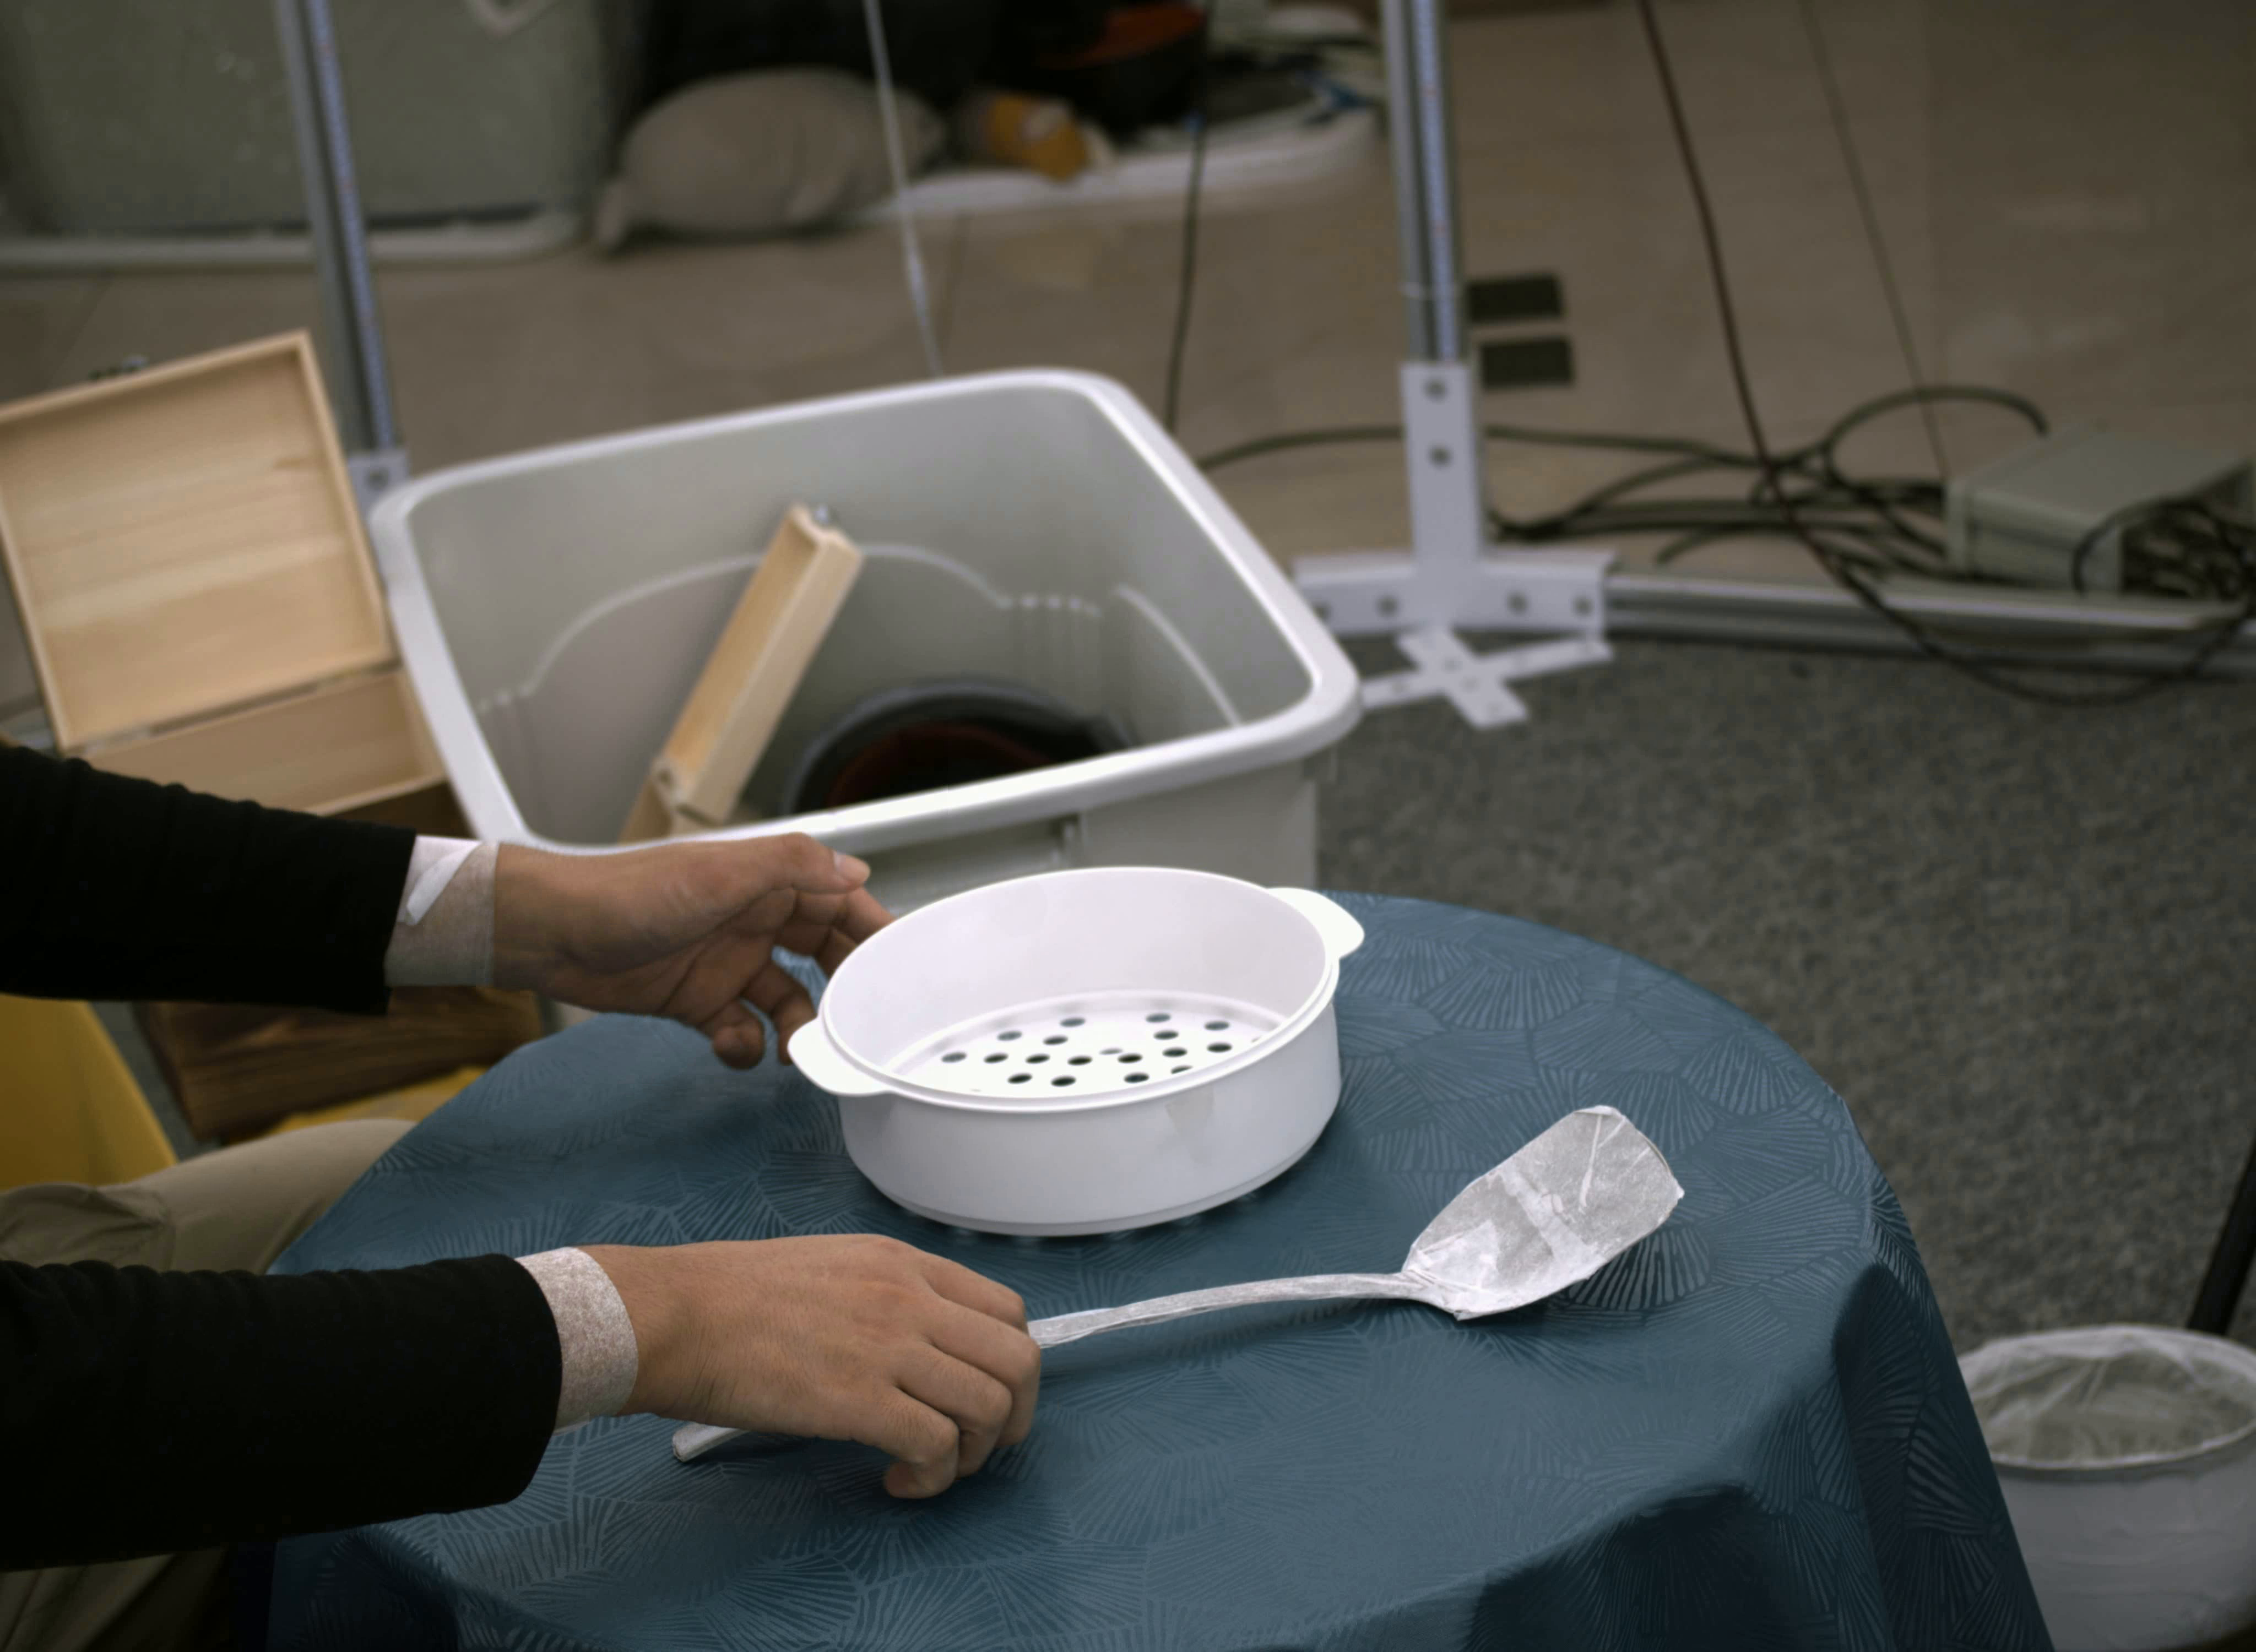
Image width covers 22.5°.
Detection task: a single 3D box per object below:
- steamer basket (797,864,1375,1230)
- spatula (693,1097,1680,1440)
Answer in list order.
[{"bbox_3d":[-0.012,0.086,2.182,0.229,0.070,0.199,-16,26,-18],"label":"steamer basket"},{"bbox_3d":[0.021,0.167,2.037,0.364,0.045,0.097,-11,27,-9],"label":"spatula"}]
